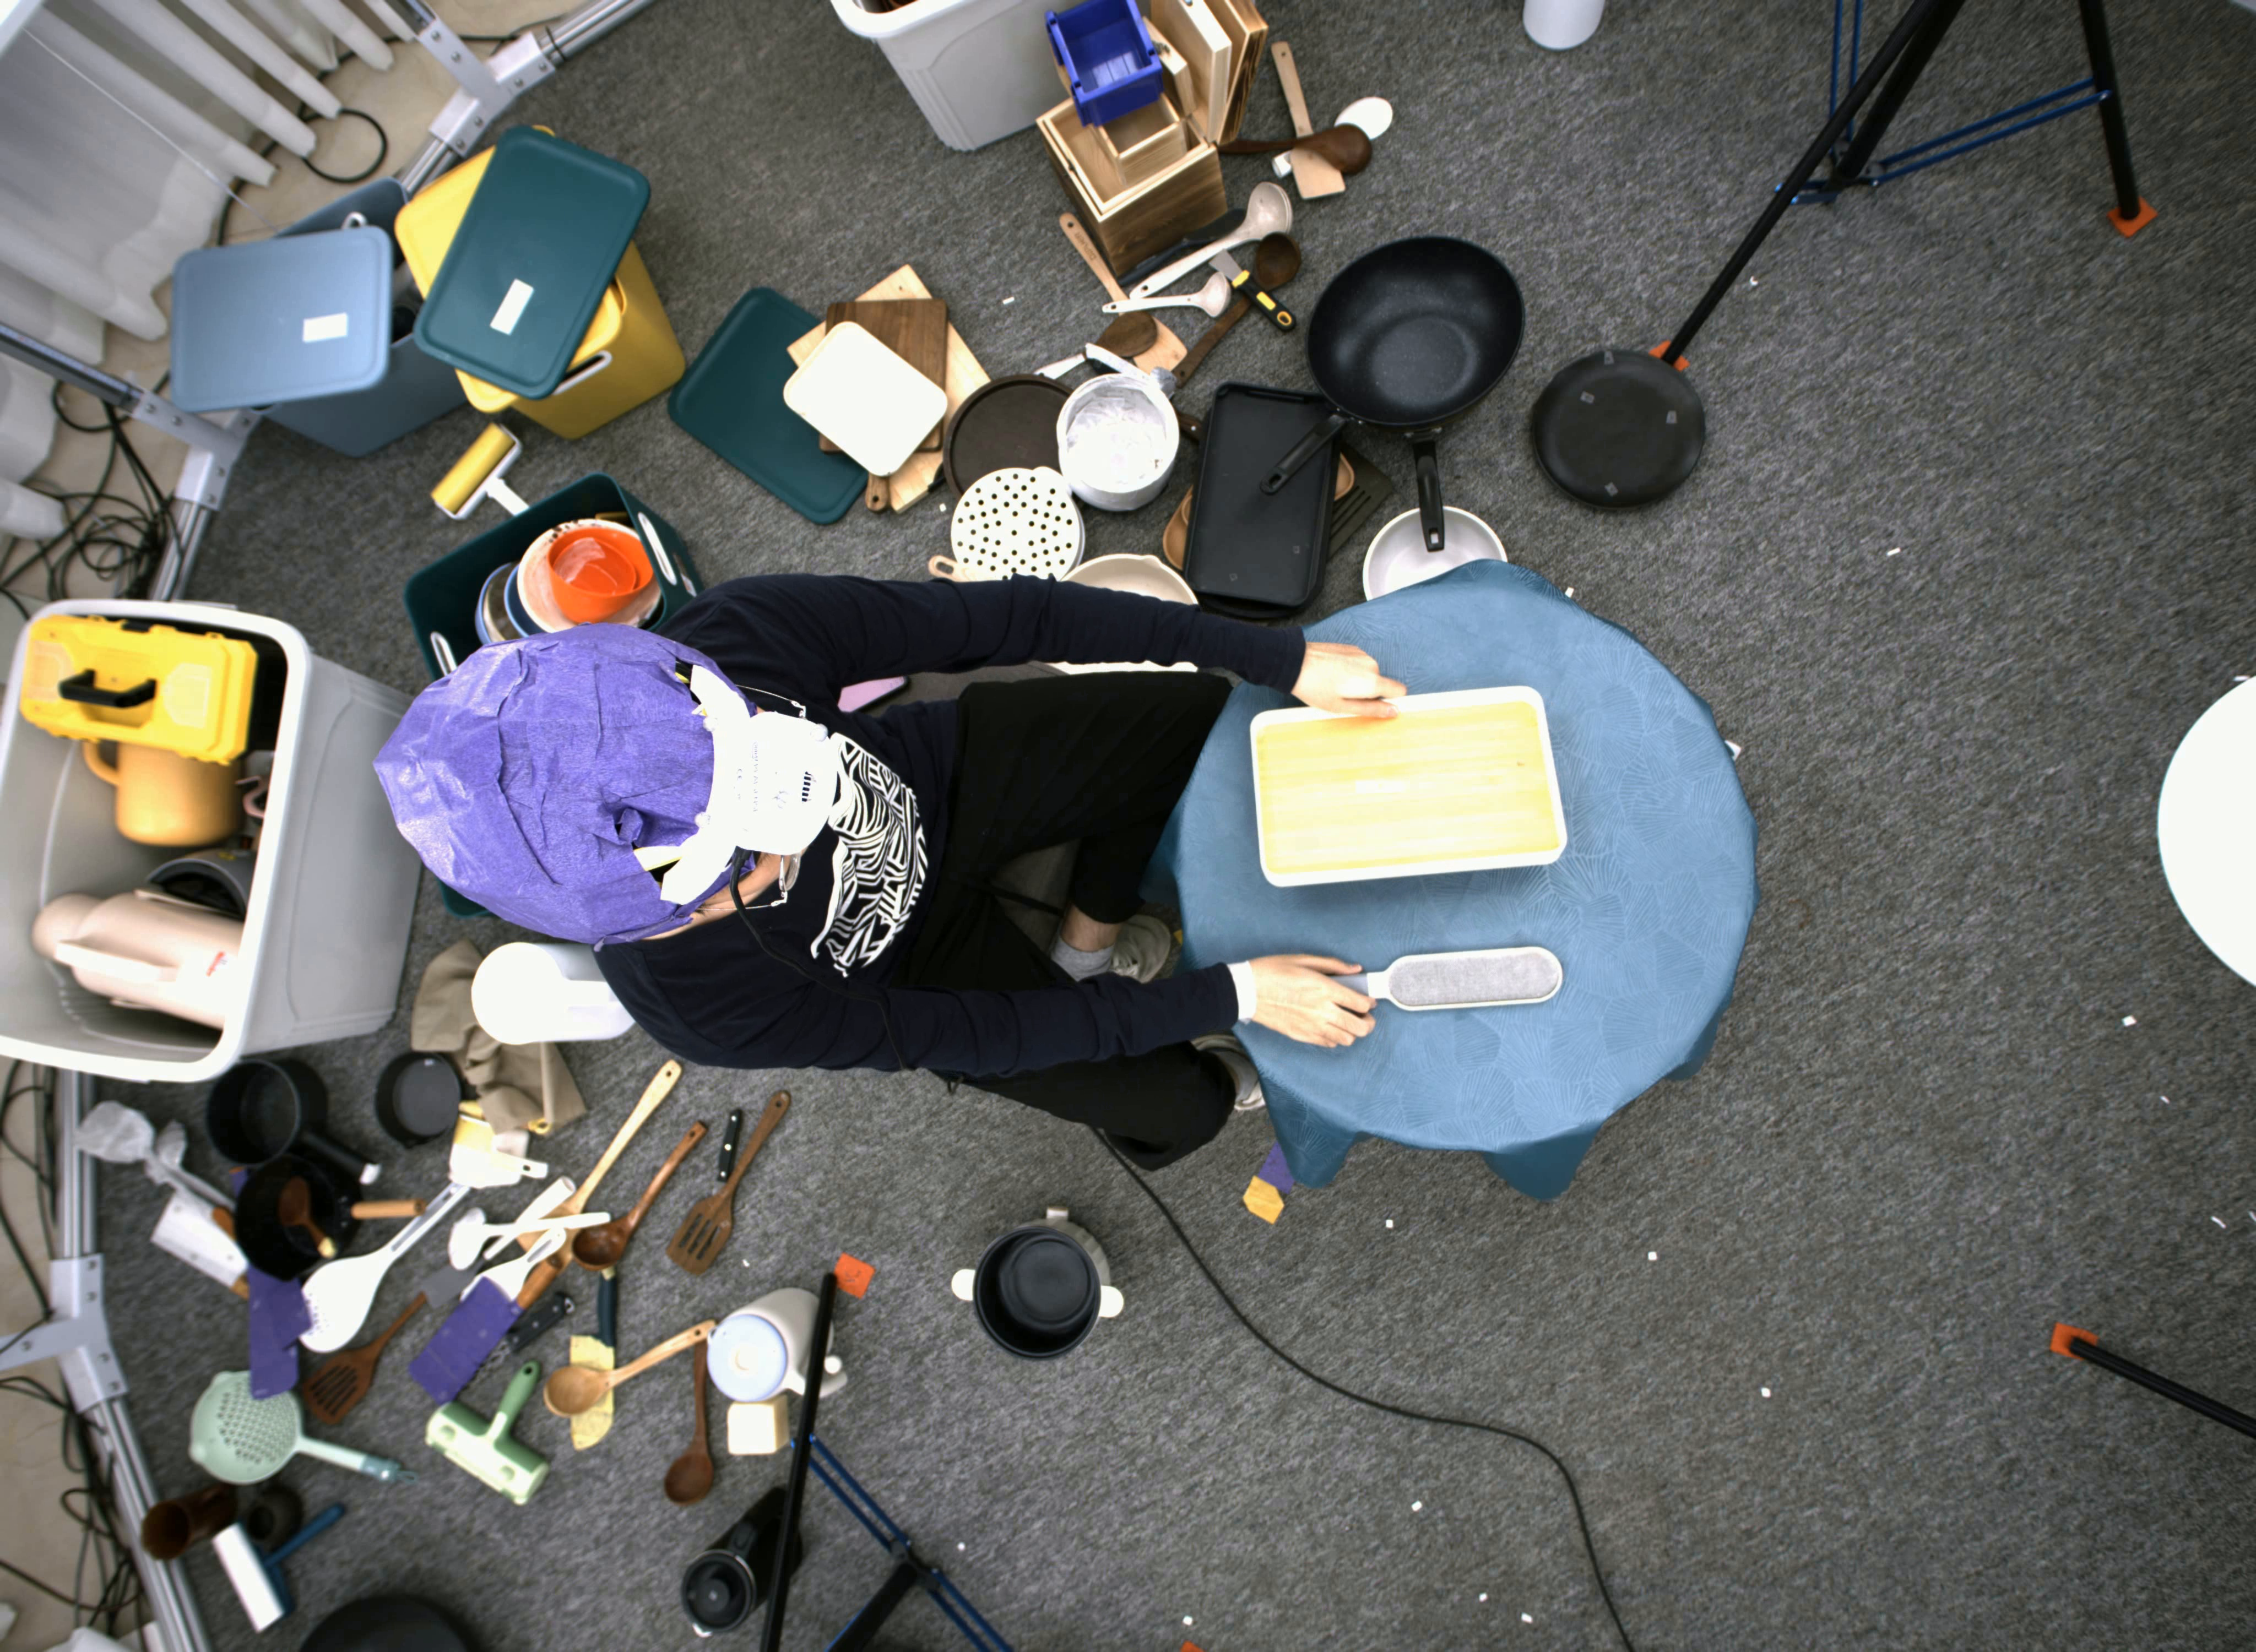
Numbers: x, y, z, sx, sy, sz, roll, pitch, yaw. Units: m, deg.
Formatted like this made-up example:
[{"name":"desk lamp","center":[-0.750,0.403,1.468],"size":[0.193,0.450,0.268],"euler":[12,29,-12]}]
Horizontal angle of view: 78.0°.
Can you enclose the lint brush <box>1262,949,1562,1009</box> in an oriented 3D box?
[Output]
[{"name":"lint brush","center":[0.294,0.159,1.437],"size":[0.310,0.021,0.060],"euler":[-4,92,10]}]

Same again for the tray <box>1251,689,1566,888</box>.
[{"name":"tray","center":[0.279,-0.040,1.397],"size":[0.301,0.028,0.188],"euler":[-5,69,9]}]
